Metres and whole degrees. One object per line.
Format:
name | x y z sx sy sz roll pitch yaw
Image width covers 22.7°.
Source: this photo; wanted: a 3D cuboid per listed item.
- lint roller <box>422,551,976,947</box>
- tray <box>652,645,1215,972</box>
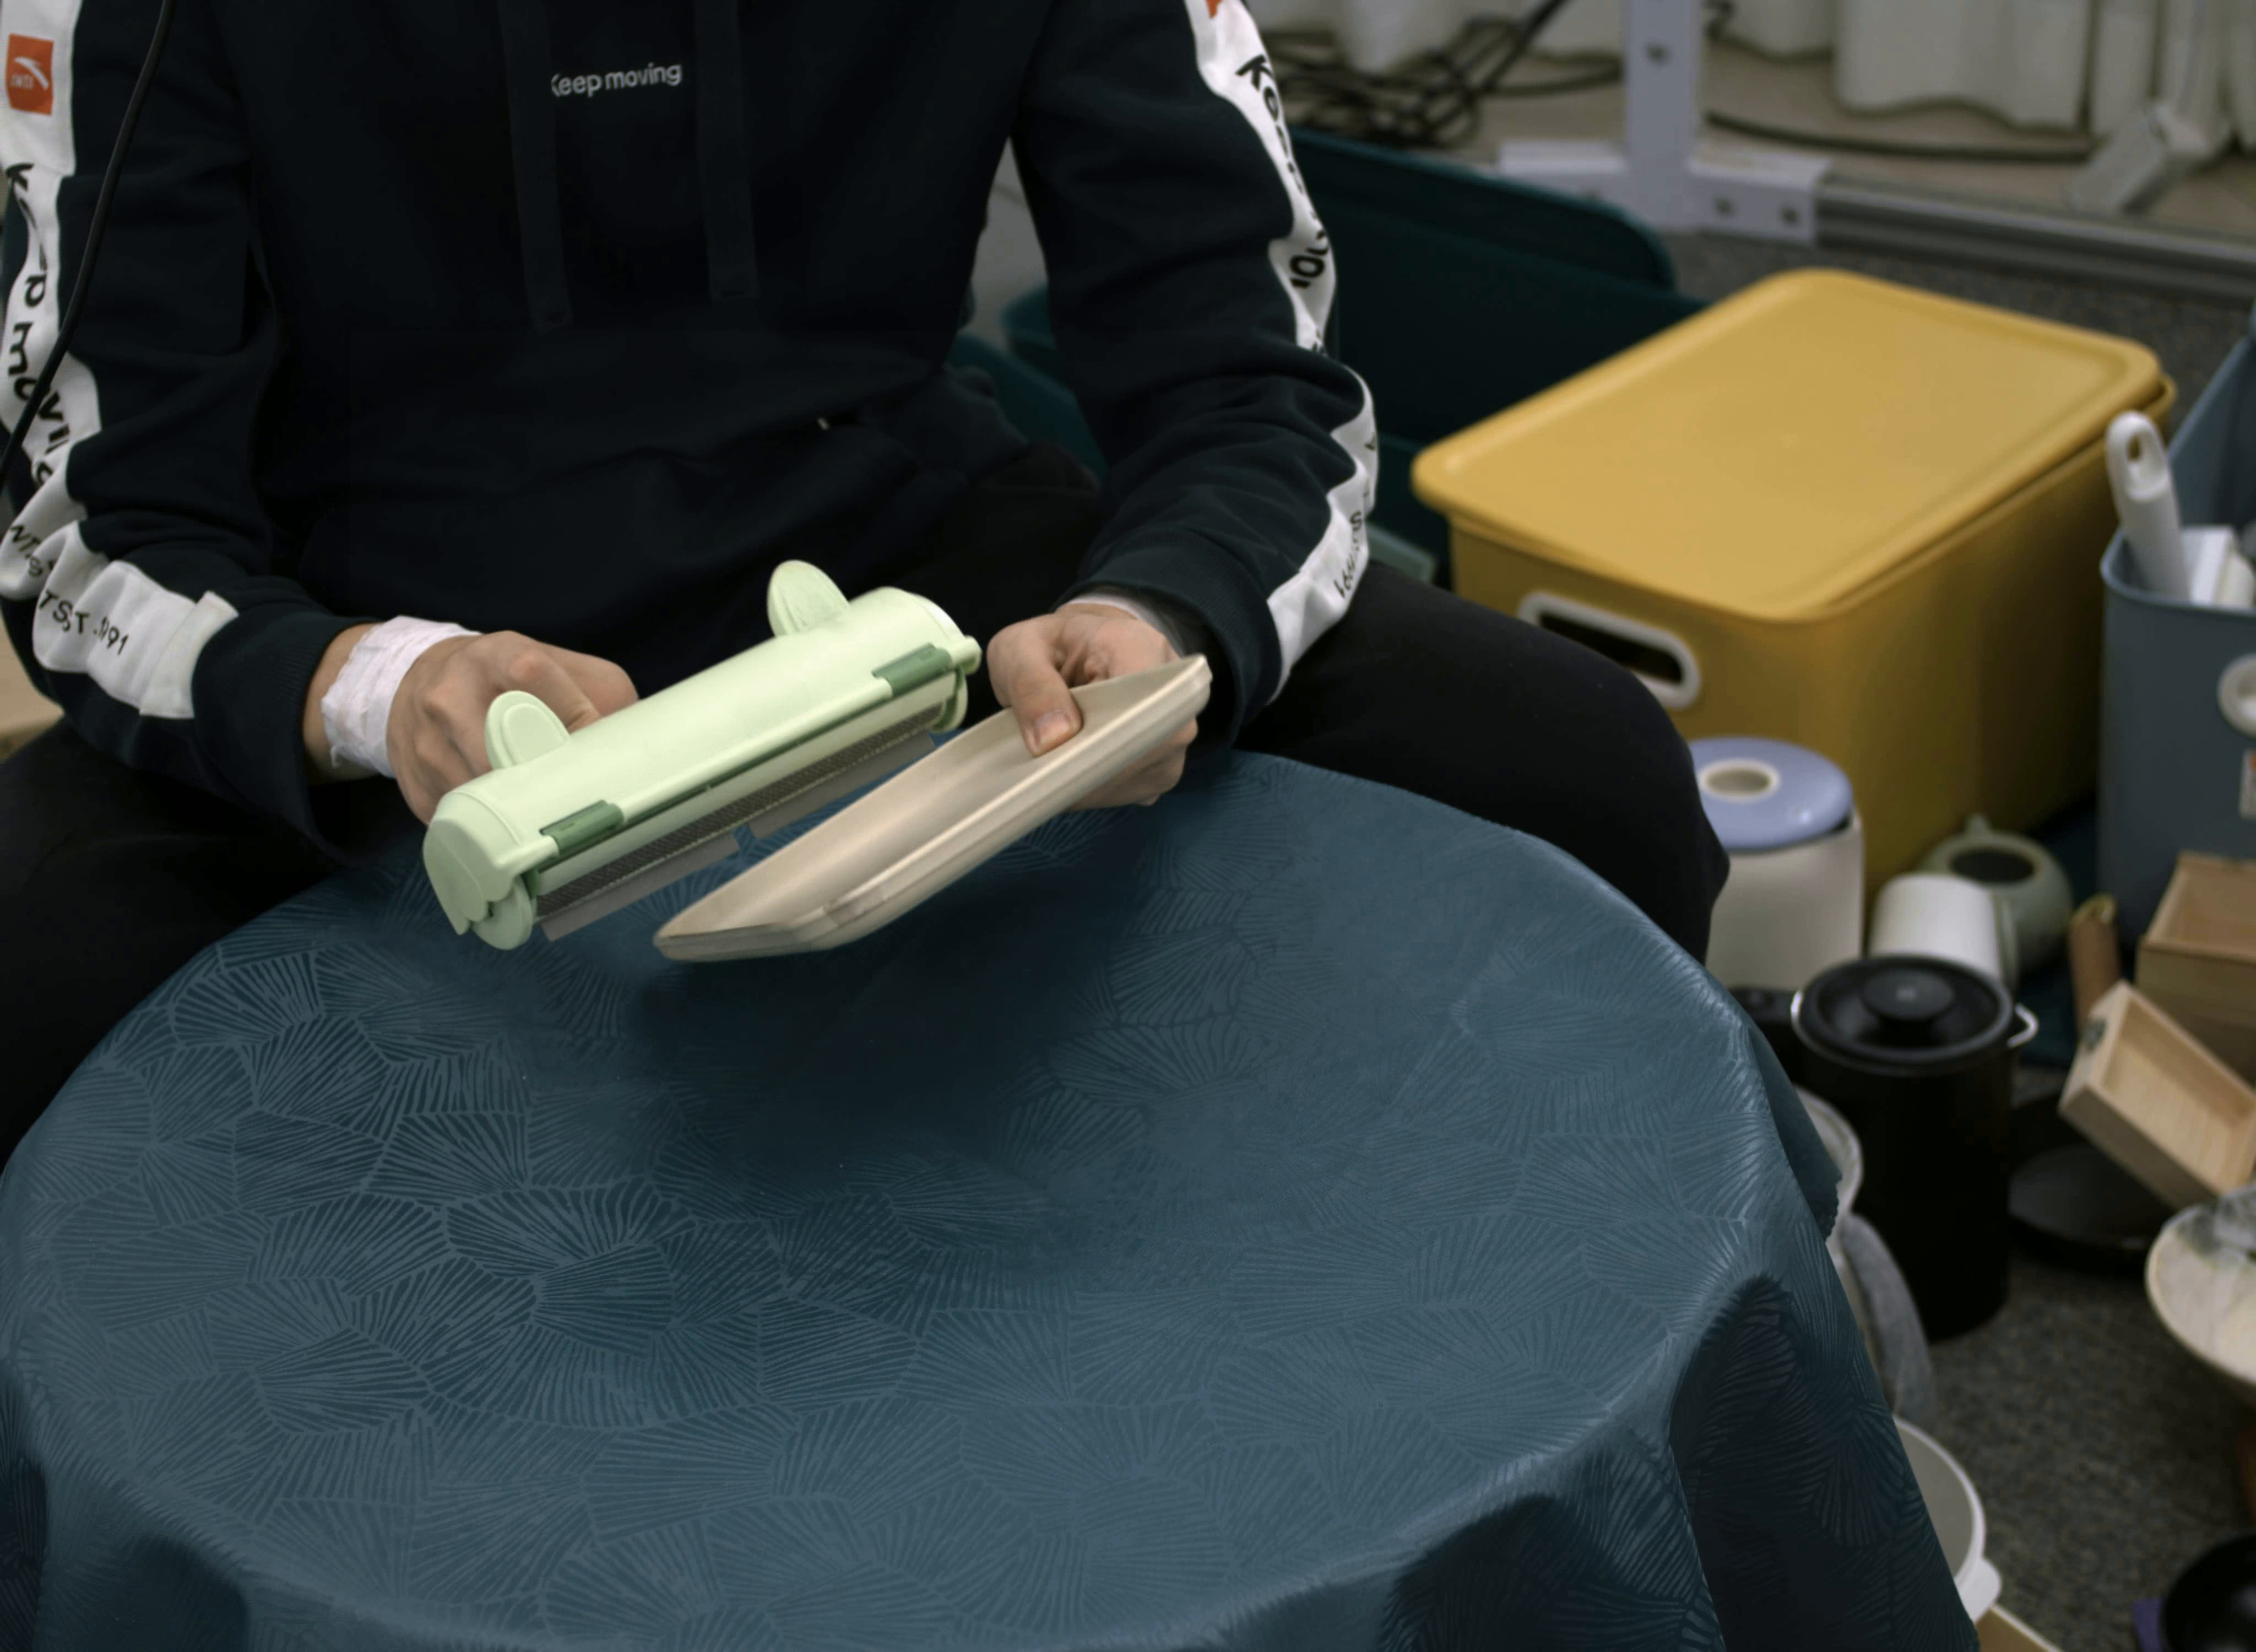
lint roller | -0.175 -0.036 1.880 0.201 0.081 0.182 -28 24 -33
tray | -0.067 -0.002 1.922 0.173 0.017 0.238 -34 6 -19
